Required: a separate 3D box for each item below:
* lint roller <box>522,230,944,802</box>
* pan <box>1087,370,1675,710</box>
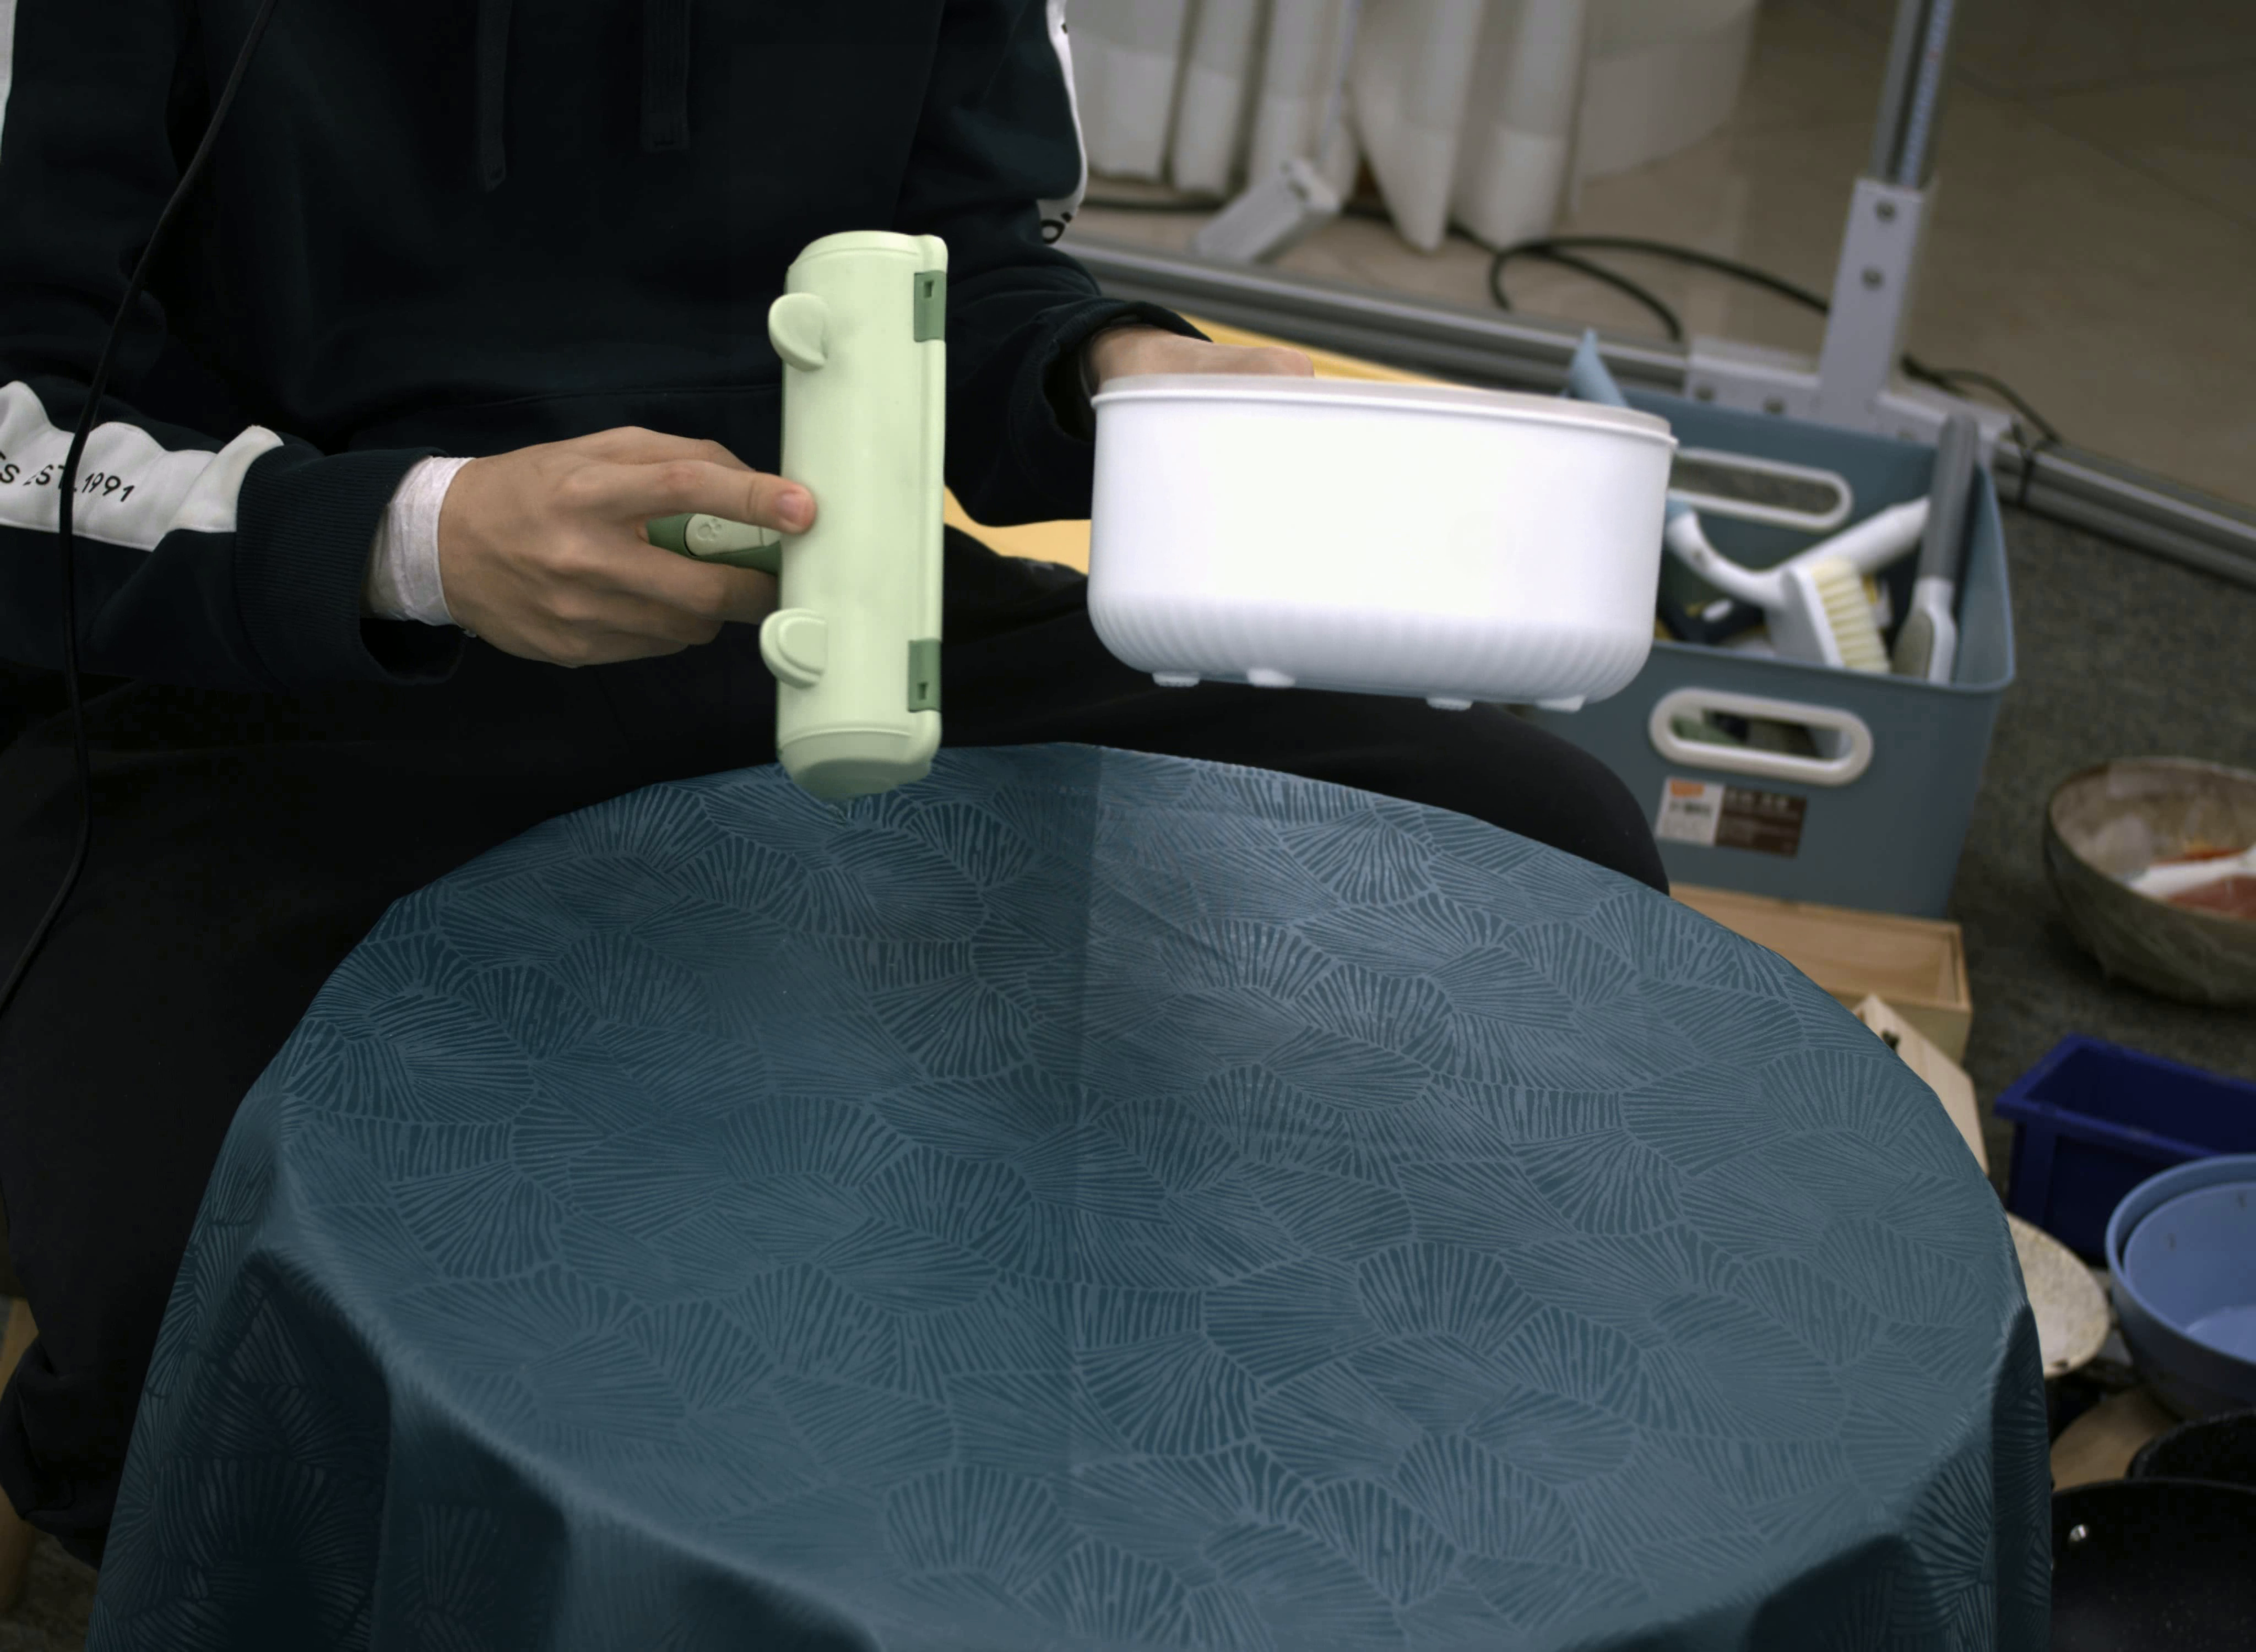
[{"bbox_3d":[-0.147,-0.104,1.870,0.183,0.200,0.081,-8,-18,22],"label":"lint roller"},{"bbox_3d":[0.061,-0.094,1.889,0.200,0.102,0.356,3,-1,-17],"label":"pan"}]
